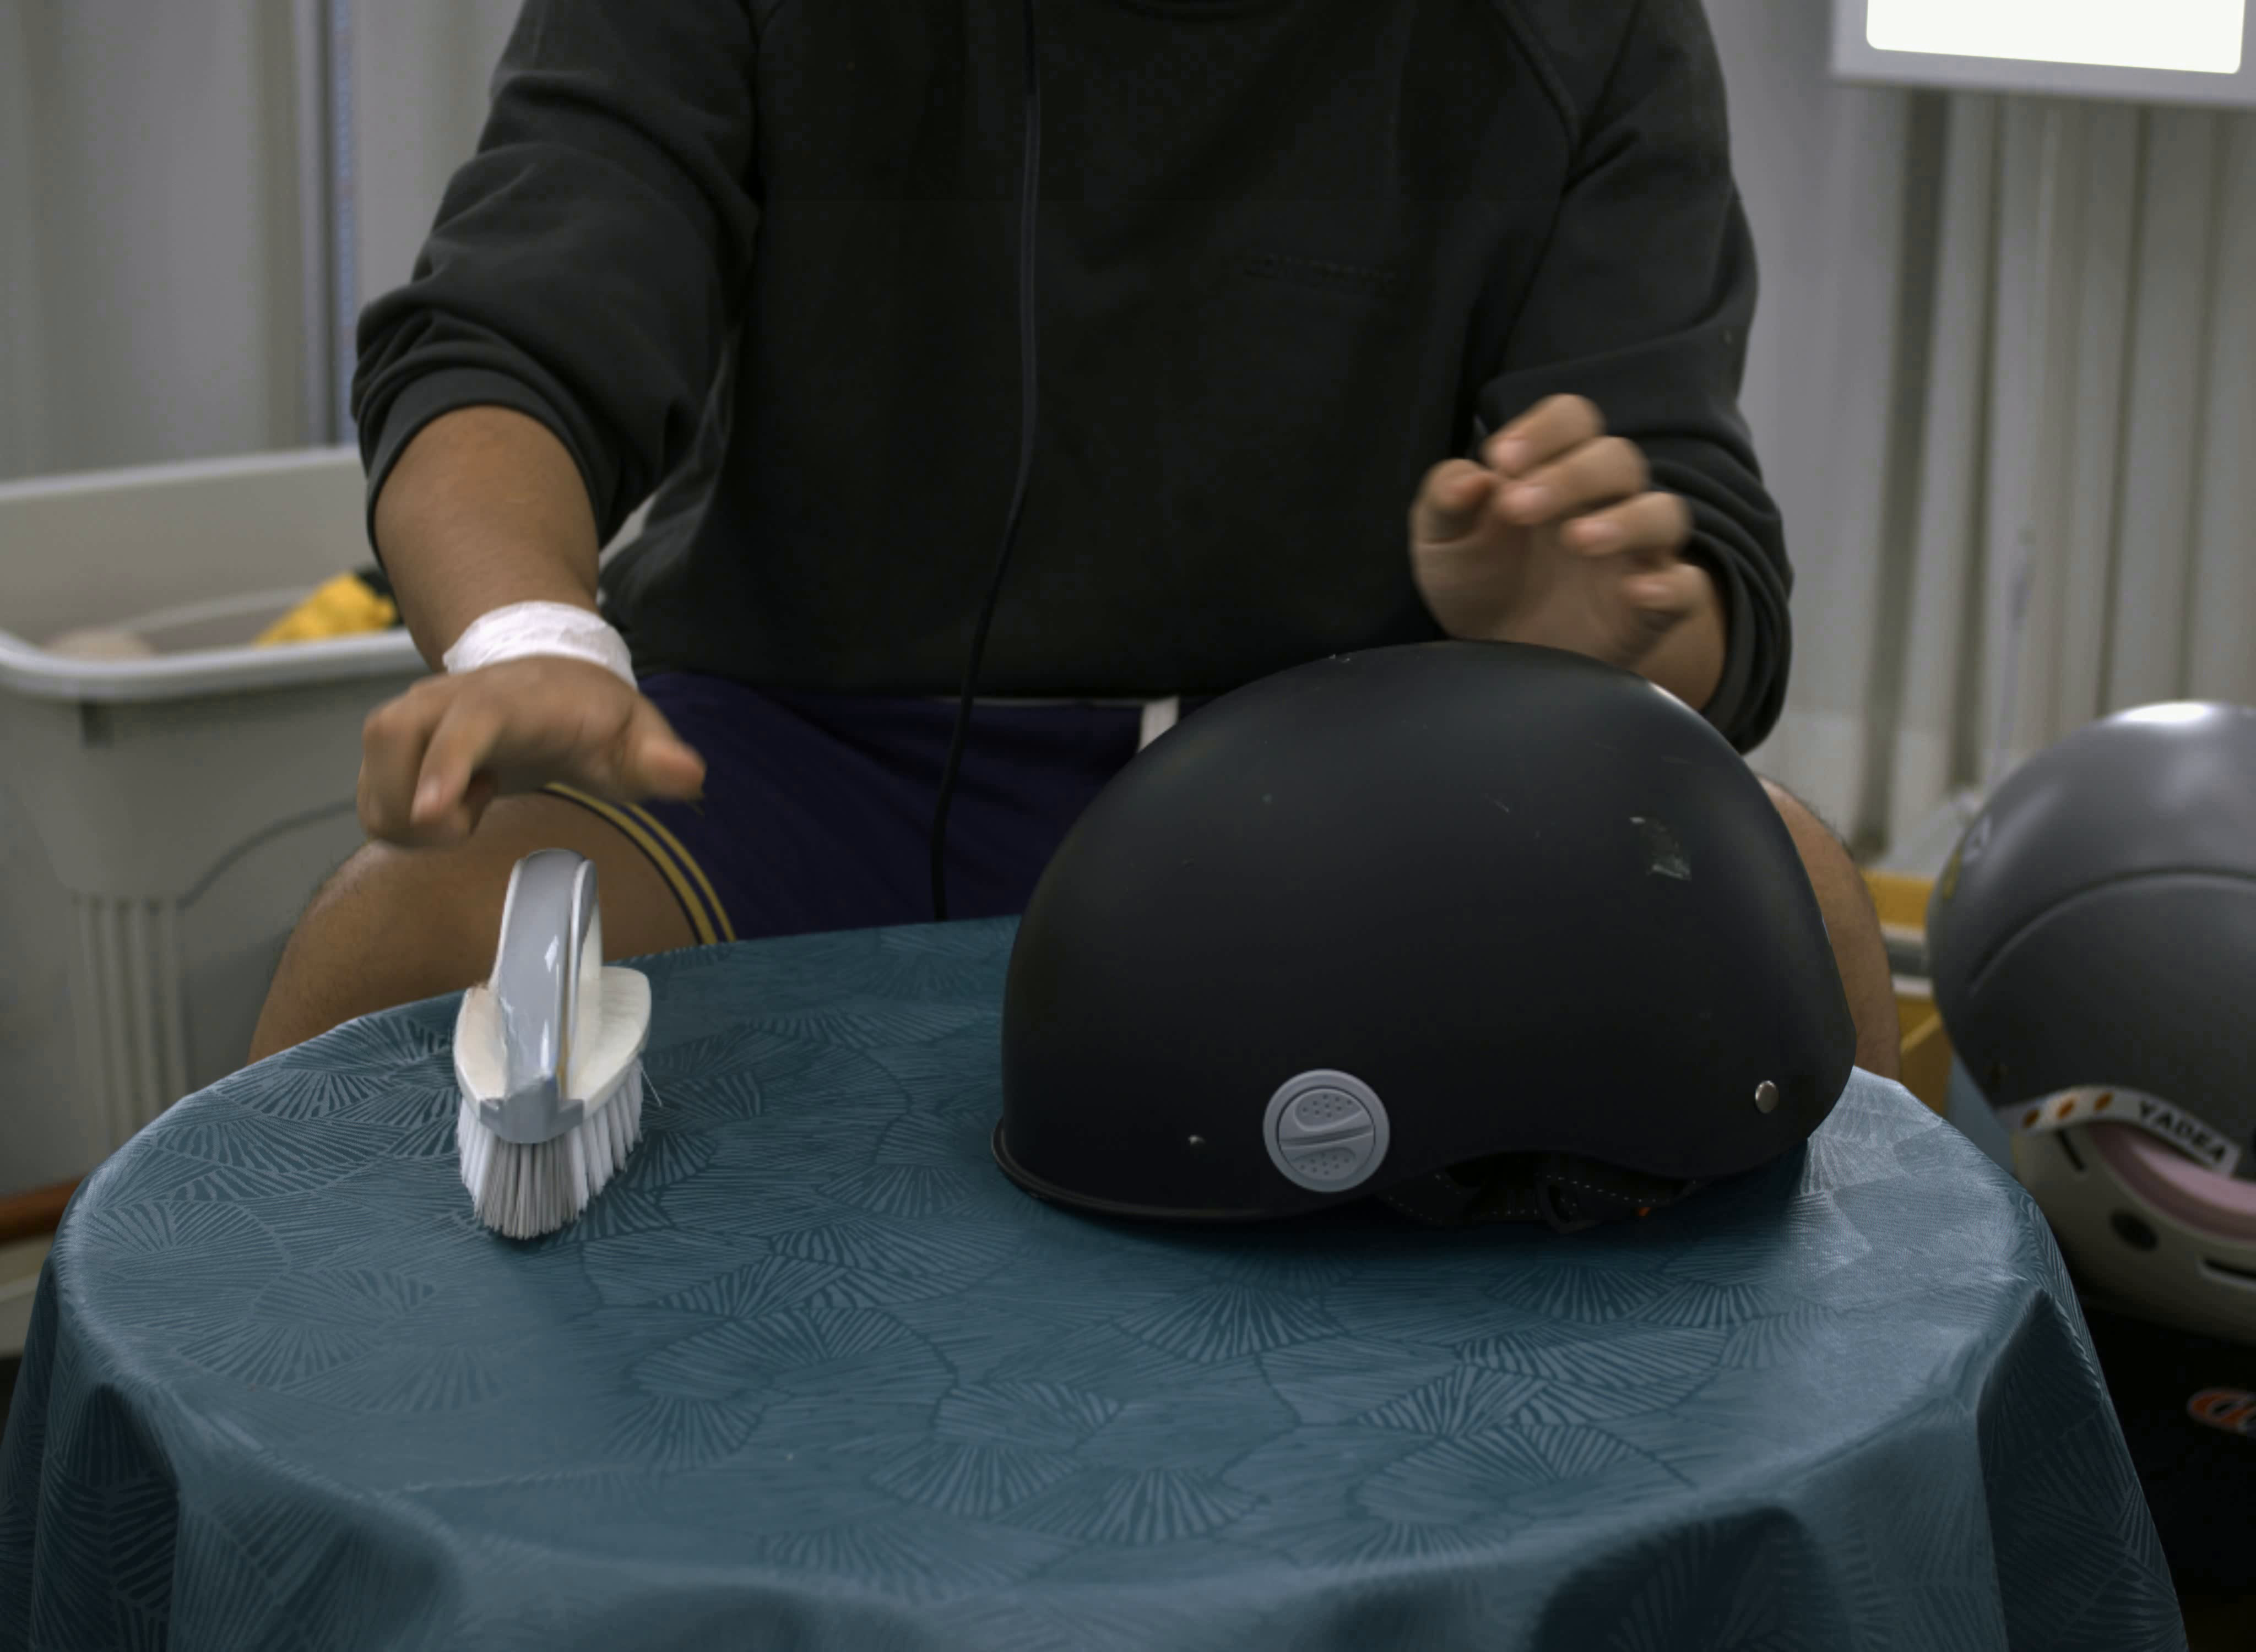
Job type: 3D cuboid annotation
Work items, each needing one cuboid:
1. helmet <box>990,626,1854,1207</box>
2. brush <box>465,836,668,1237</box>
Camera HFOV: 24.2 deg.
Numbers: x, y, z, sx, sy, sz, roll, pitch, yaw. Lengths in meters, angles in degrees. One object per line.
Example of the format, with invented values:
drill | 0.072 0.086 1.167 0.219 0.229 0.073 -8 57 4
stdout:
helmet | 0.090 0.023 1.646 0.272 0.168 0.228 -2 15 -2
brush | -0.178 0.060 1.637 0.061 0.095 0.174 -3 17 0
